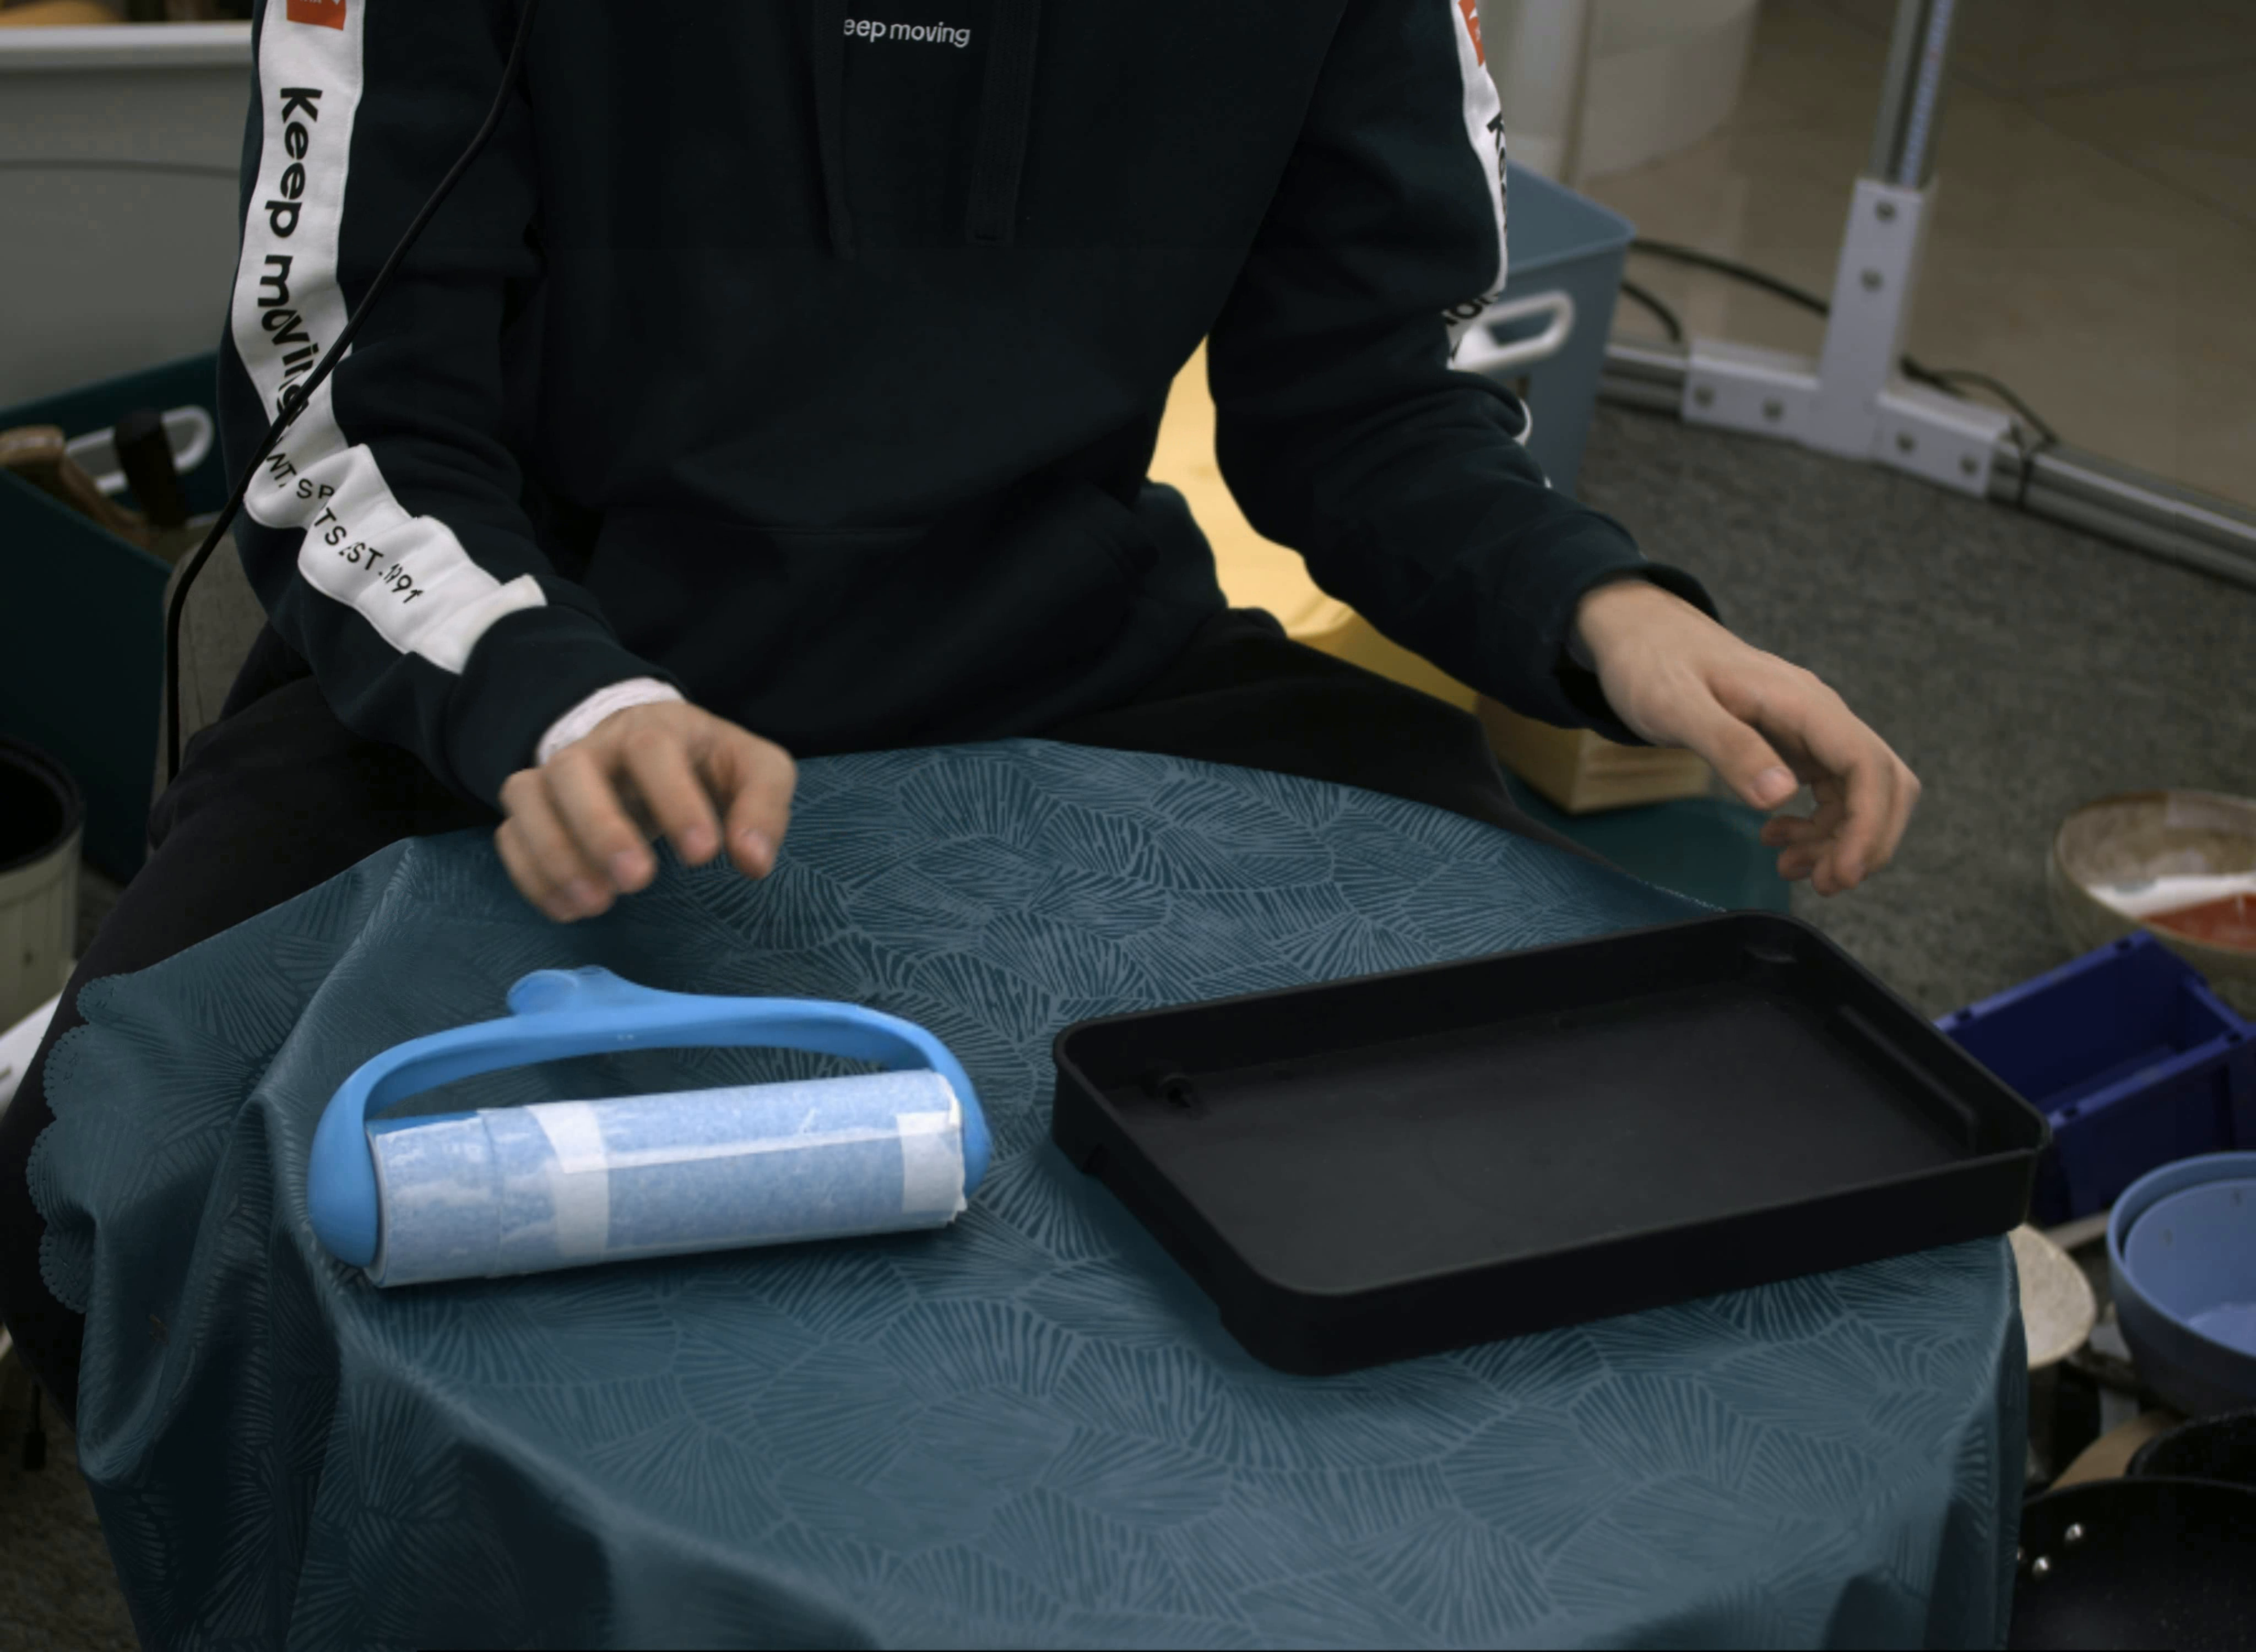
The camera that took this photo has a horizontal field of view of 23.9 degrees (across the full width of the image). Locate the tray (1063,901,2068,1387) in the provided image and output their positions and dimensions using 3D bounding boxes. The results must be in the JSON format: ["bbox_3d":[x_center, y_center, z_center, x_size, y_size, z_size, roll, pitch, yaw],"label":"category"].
[{"bbox_3d":[0.149,0.104,1.832,0.316,0.037,0.186,-10,31,-28],"label":"tray"}]

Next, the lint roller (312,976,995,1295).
[{"bbox_3d":[-0.175,0.085,1.773,0.227,0.067,0.182,-7,31,-22],"label":"lint roller"}]
